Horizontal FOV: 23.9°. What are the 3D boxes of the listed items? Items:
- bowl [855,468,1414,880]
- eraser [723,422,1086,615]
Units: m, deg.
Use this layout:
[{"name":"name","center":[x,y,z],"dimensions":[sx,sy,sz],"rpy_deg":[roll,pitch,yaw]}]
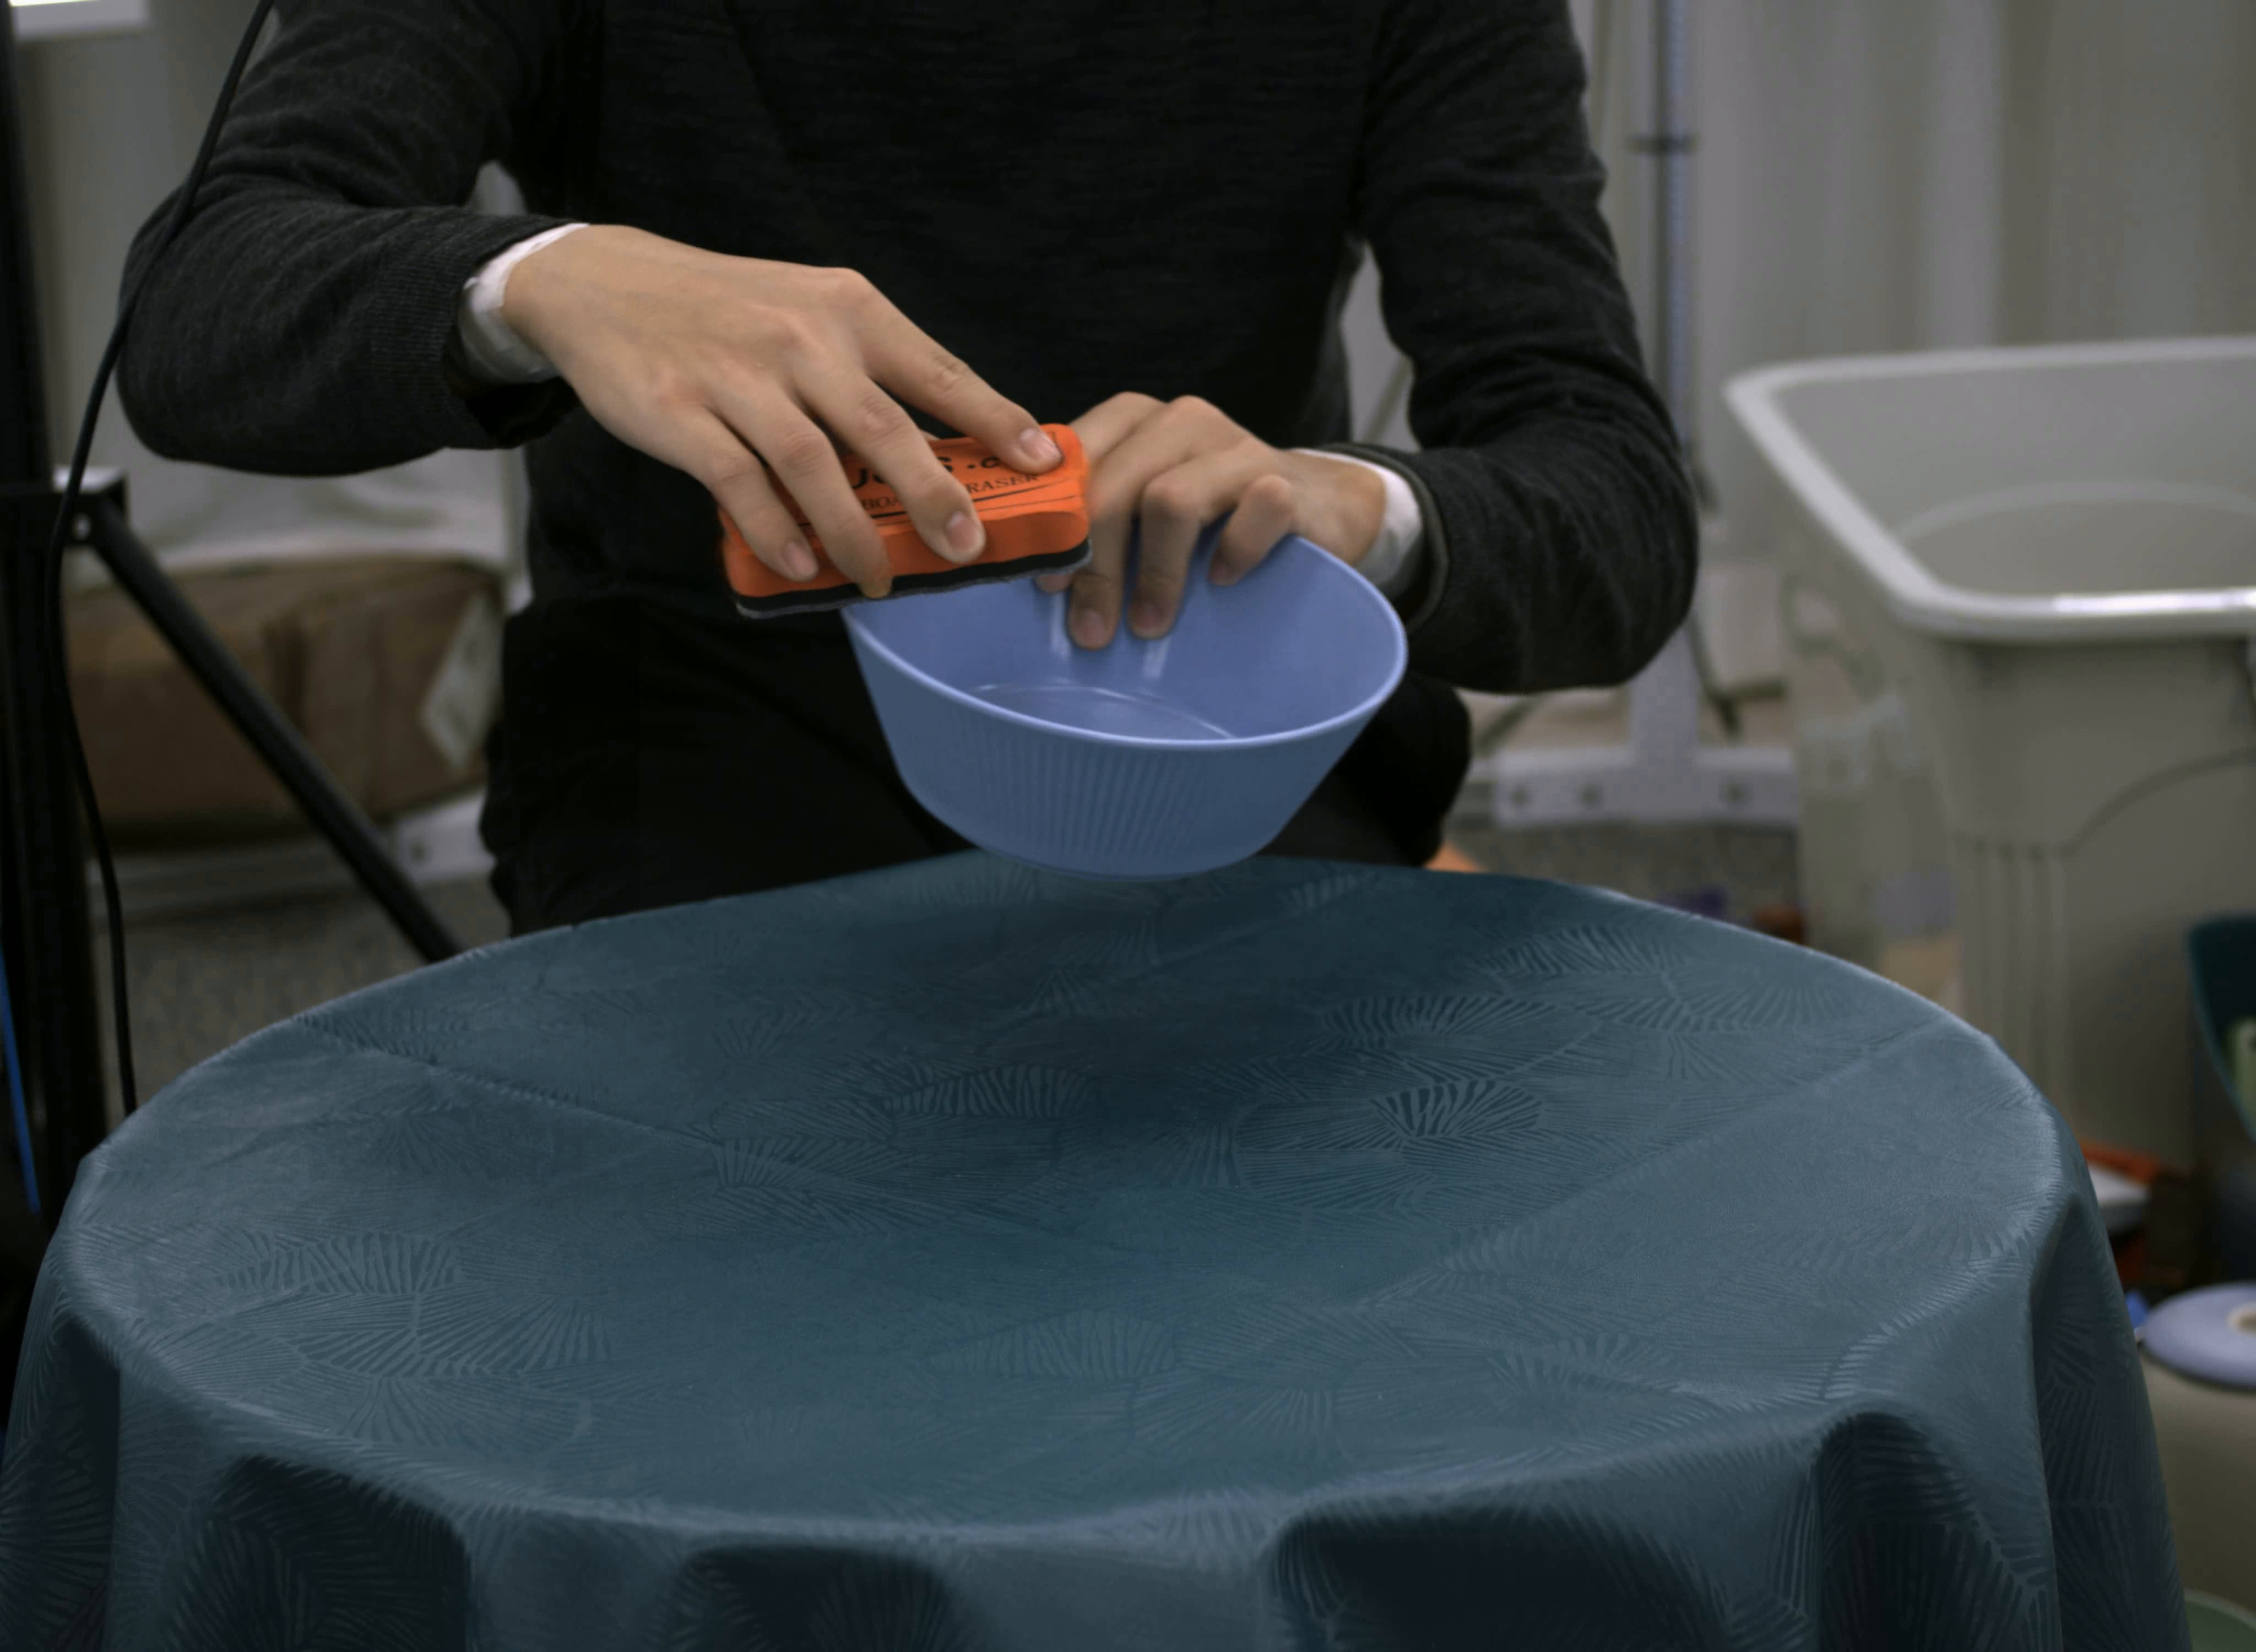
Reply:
[{"name":"bowl","center":[-0.004,-0.041,1.634],"dimensions":[0.174,0.070,0.177],"rpy_deg":[7,29,-6]},{"name":"eraser","center":[-0.068,-0.093,1.612],"dimensions":[0.108,0.022,0.059],"rpy_deg":[-9,31,4]}]
